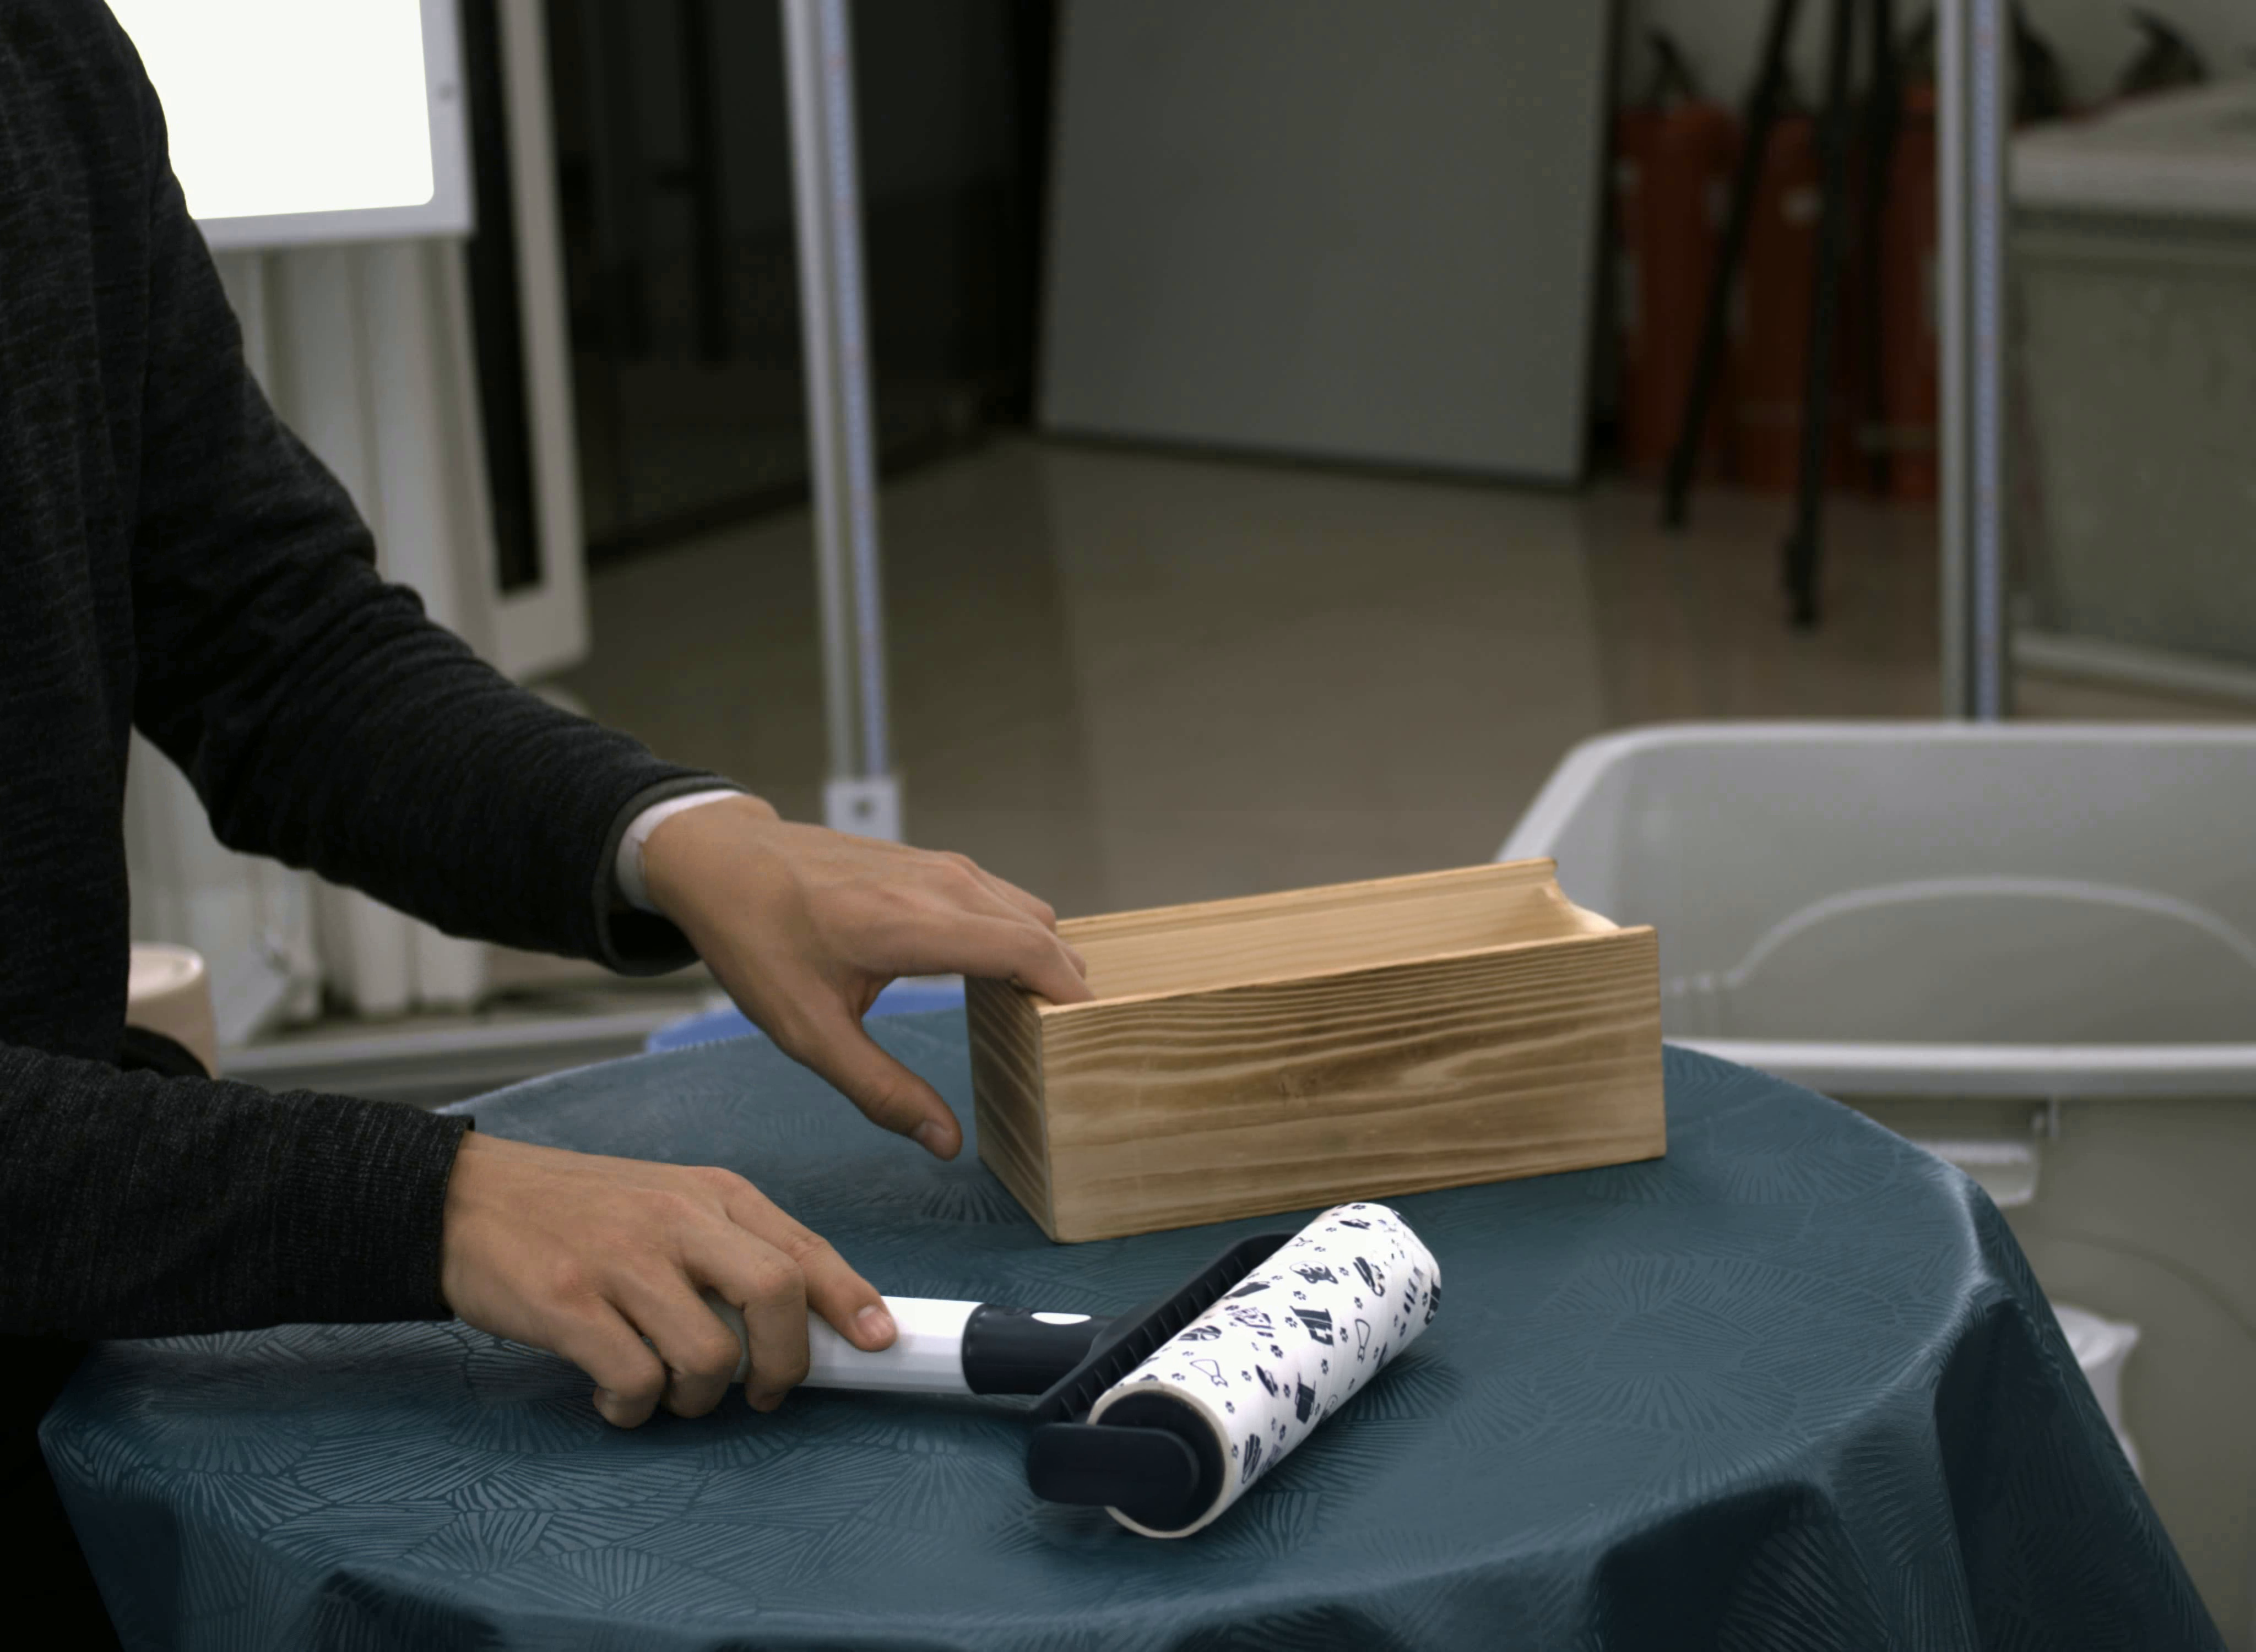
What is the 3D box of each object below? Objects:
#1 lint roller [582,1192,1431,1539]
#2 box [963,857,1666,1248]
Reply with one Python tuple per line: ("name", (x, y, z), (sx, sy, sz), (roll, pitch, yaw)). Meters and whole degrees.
("lint roller", (-0.052, 0.150, 1.574), (0.247, 0.051, 0.174), (1, 15, 25))
("box", (0.061, 0.073, 1.781), (0.207, 0.081, 0.108), (-8, 14, -13))
